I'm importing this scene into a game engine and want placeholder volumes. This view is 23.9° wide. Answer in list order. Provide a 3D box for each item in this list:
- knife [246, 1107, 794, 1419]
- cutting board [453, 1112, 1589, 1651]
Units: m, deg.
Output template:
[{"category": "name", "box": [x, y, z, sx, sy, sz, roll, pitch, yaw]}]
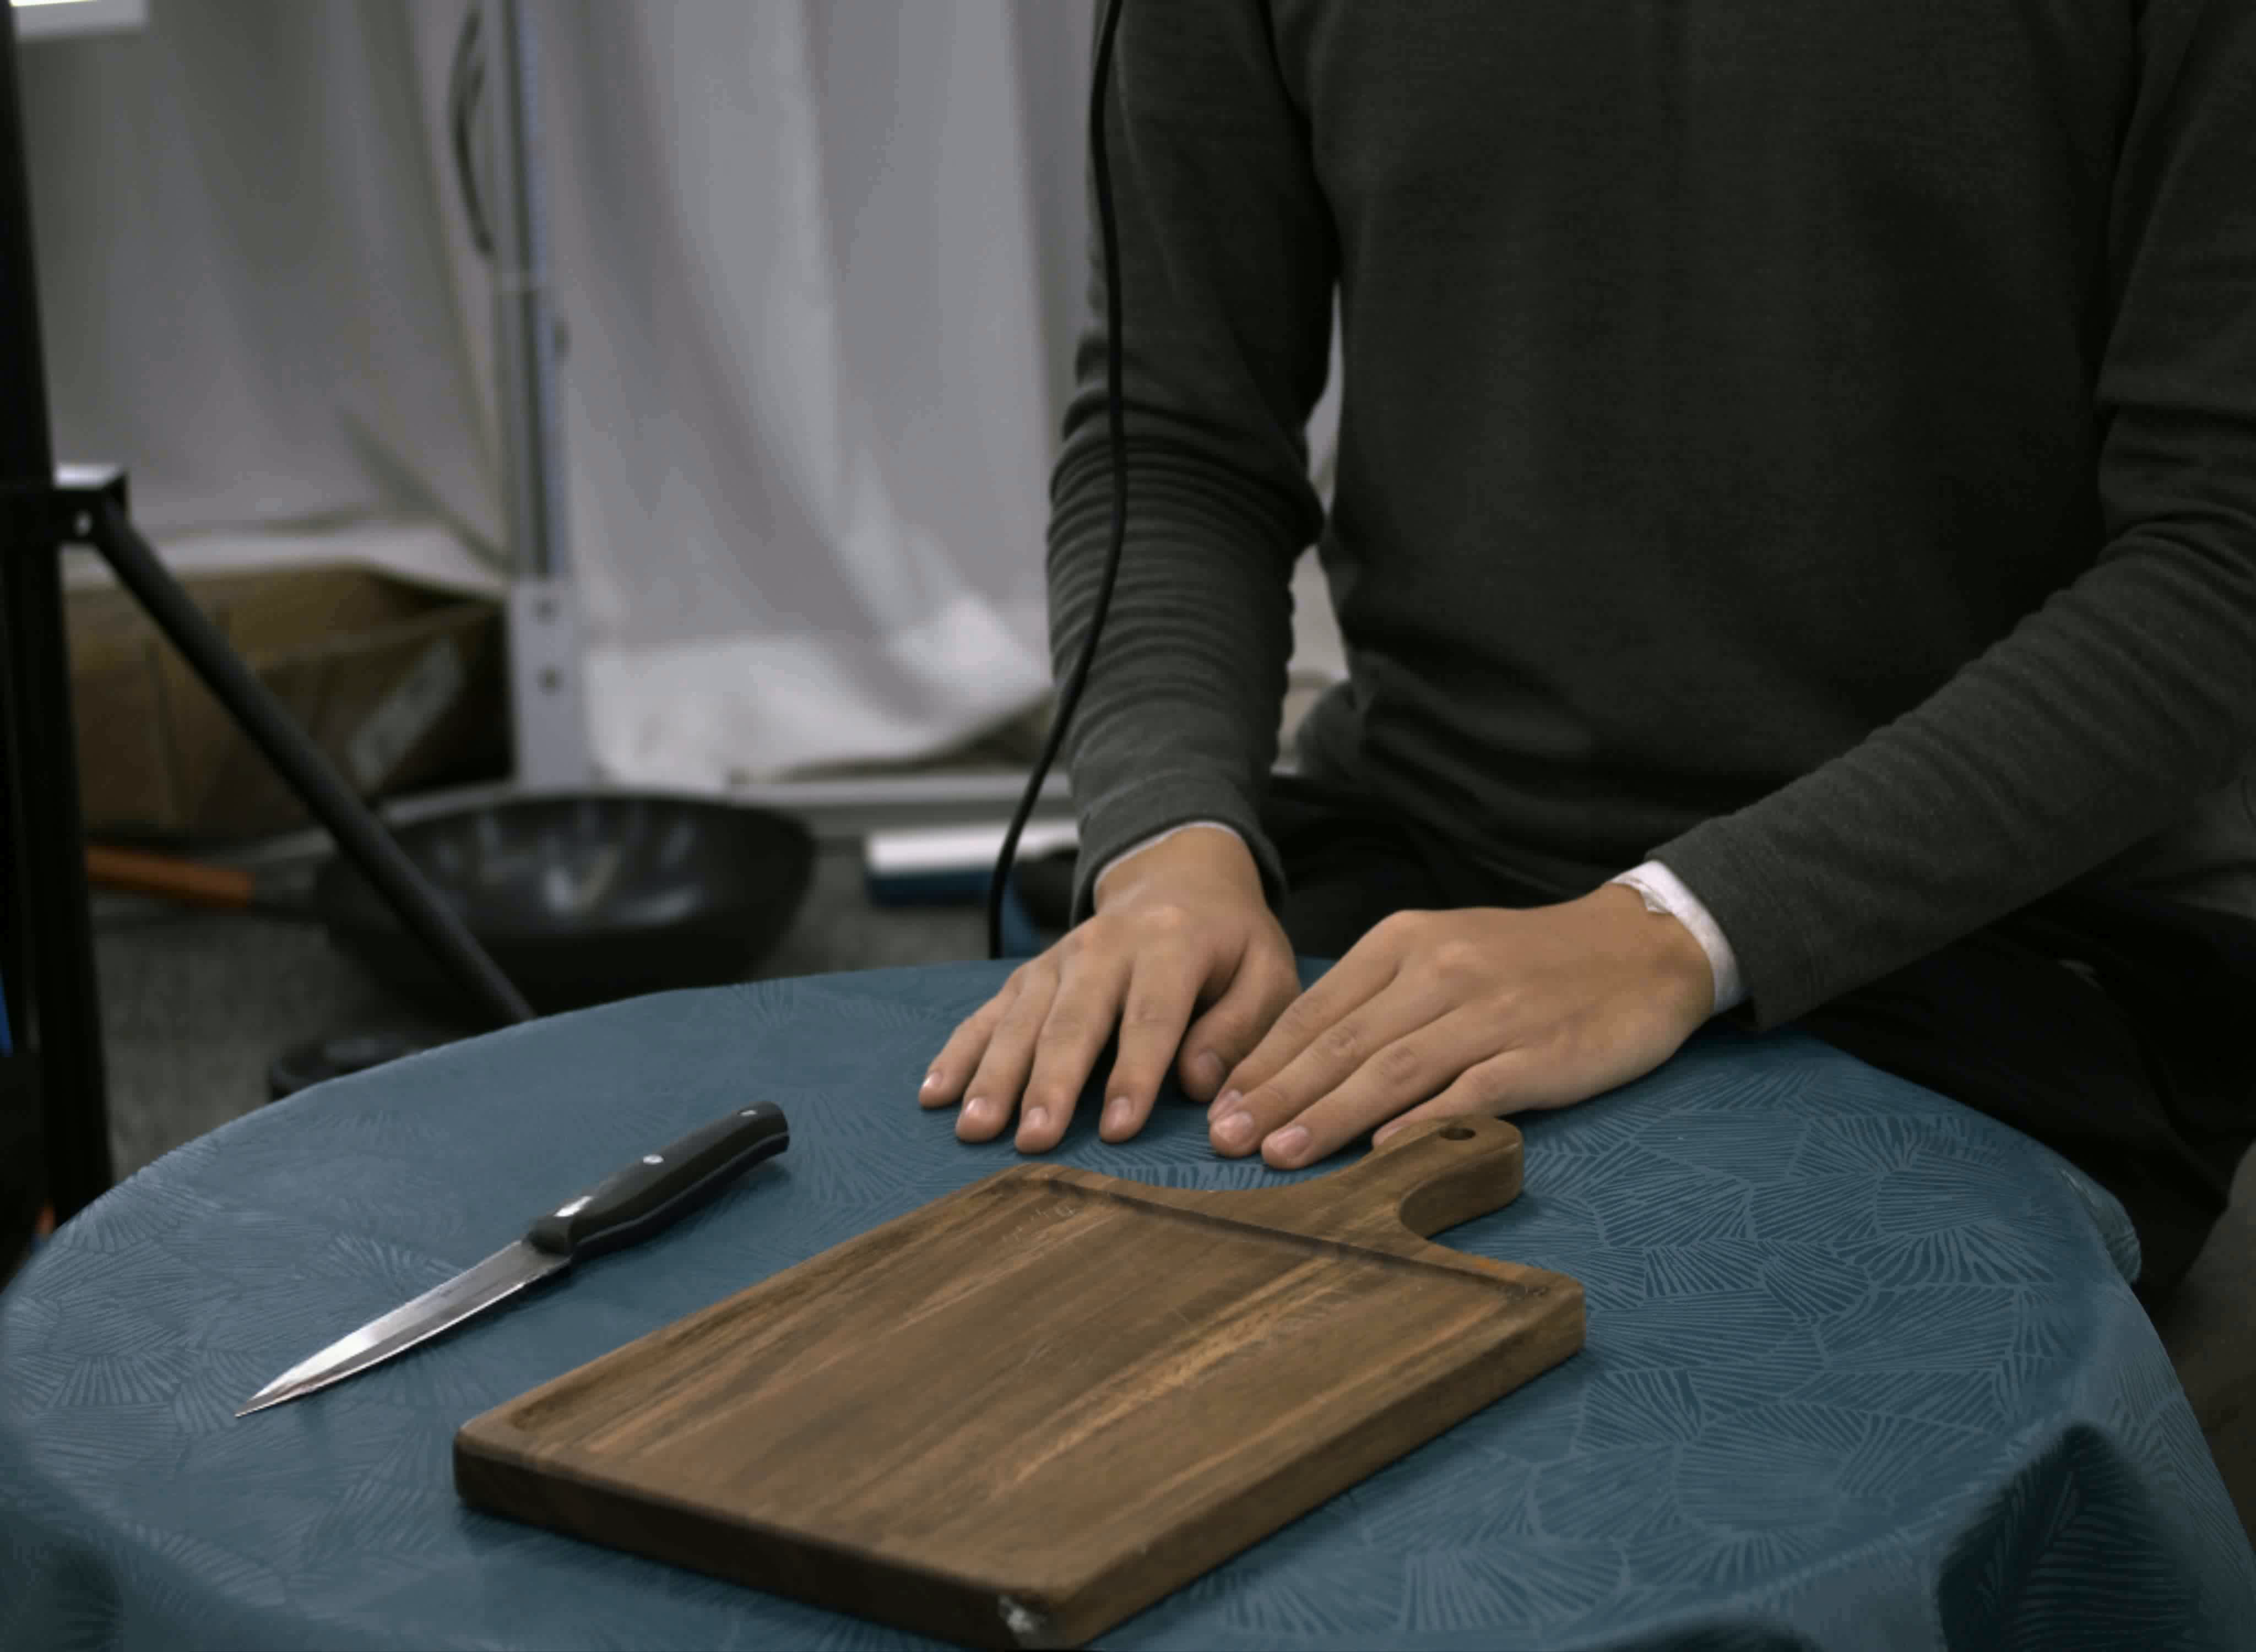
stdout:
[{"category": "knife", "box": [-0.171, 0.124, 1.512, 0.025, 0.016, 0.234, 5, 20, 34]}, {"category": "cutting board", "box": [0.005, 0.135, 1.427, 0.205, 0.023, 0.345, 10, 19, 35]}]
